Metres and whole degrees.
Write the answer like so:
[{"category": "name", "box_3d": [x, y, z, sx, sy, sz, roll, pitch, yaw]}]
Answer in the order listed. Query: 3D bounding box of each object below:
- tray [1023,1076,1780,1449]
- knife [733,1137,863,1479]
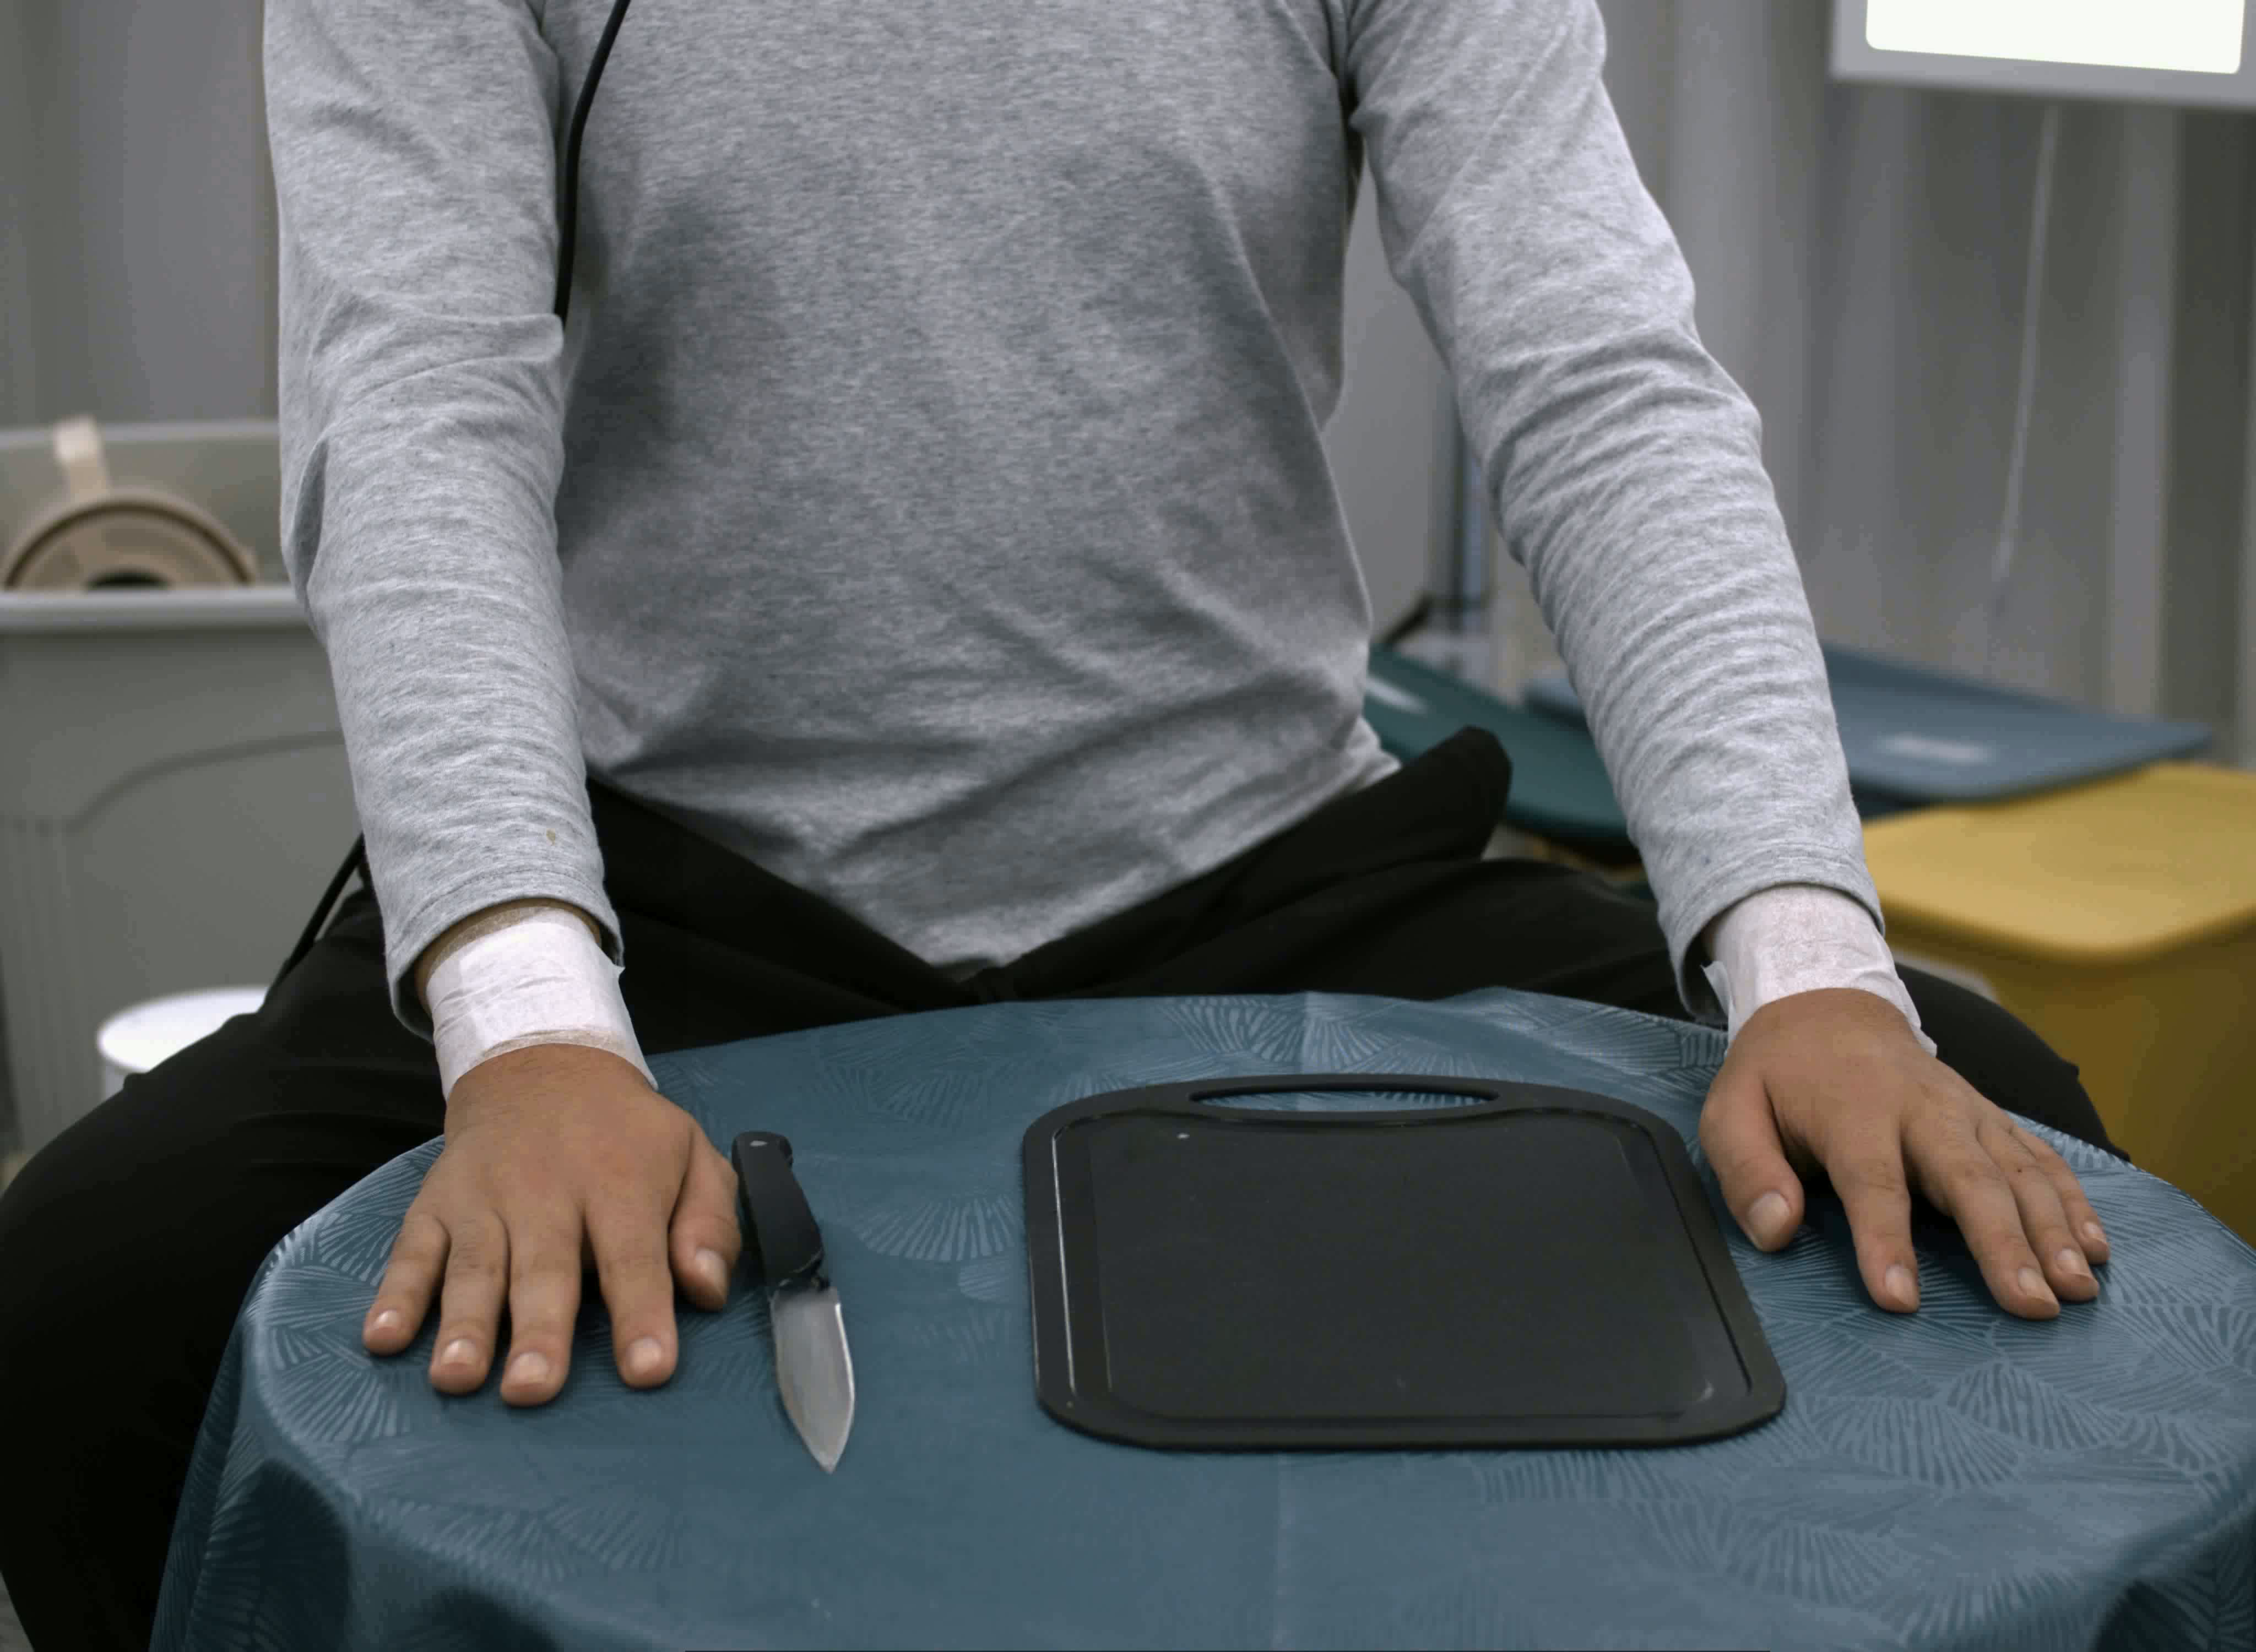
[{"category": "tray", "box_3d": [0.074, 0.124, 1.576, 0.210, 0.010, 0.323, 0, 15, -2]}, {"category": "knife", "box_3d": [-0.096, 0.137, 1.511, 0.024, 0.016, 0.236, -3, 18, -8]}]
